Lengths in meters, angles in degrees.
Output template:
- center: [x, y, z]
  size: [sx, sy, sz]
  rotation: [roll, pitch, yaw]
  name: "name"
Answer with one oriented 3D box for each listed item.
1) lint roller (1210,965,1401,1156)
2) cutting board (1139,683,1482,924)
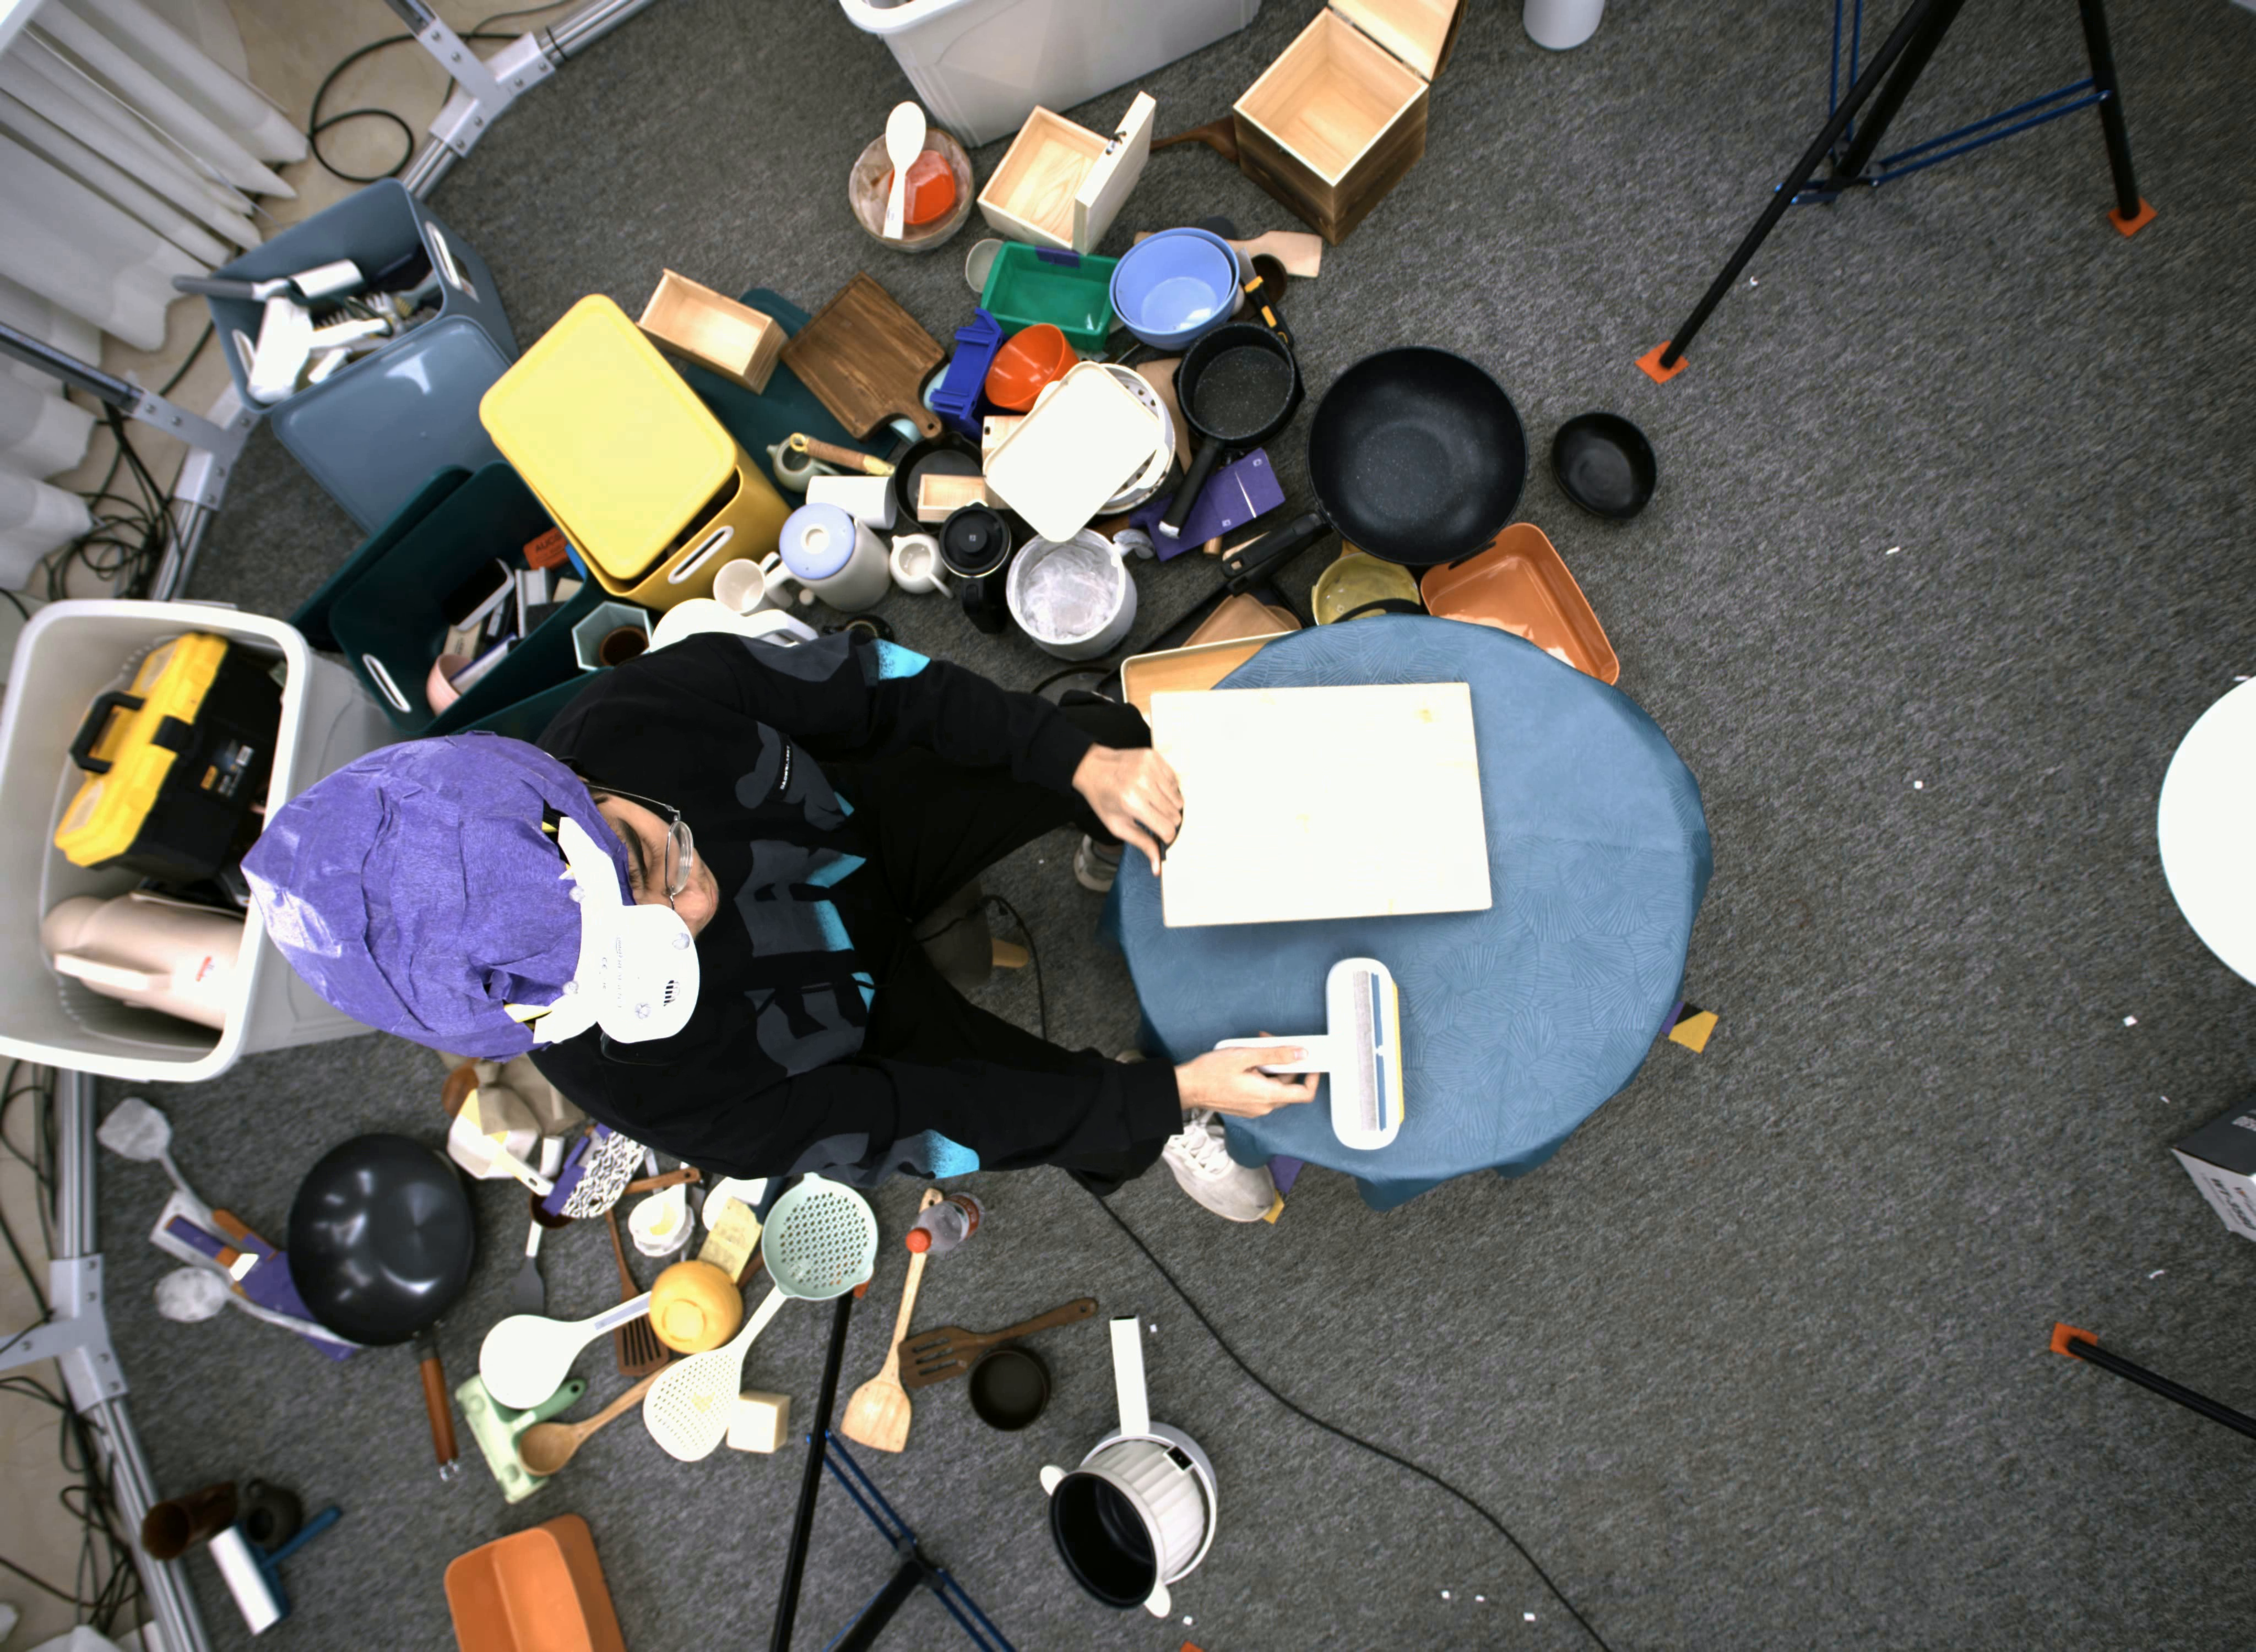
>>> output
- center: [0.181, 0.235, 1.421]
  size: [0.193, 0.074, 0.191]
  rotation: [2, 83, 2]
  name: "lint roller"
- center: [0.190, -0.028, 1.411]
  size: [0.348, 0.024, 0.249]
  rotation: [-3, 83, -6]
  name: "cutting board"
